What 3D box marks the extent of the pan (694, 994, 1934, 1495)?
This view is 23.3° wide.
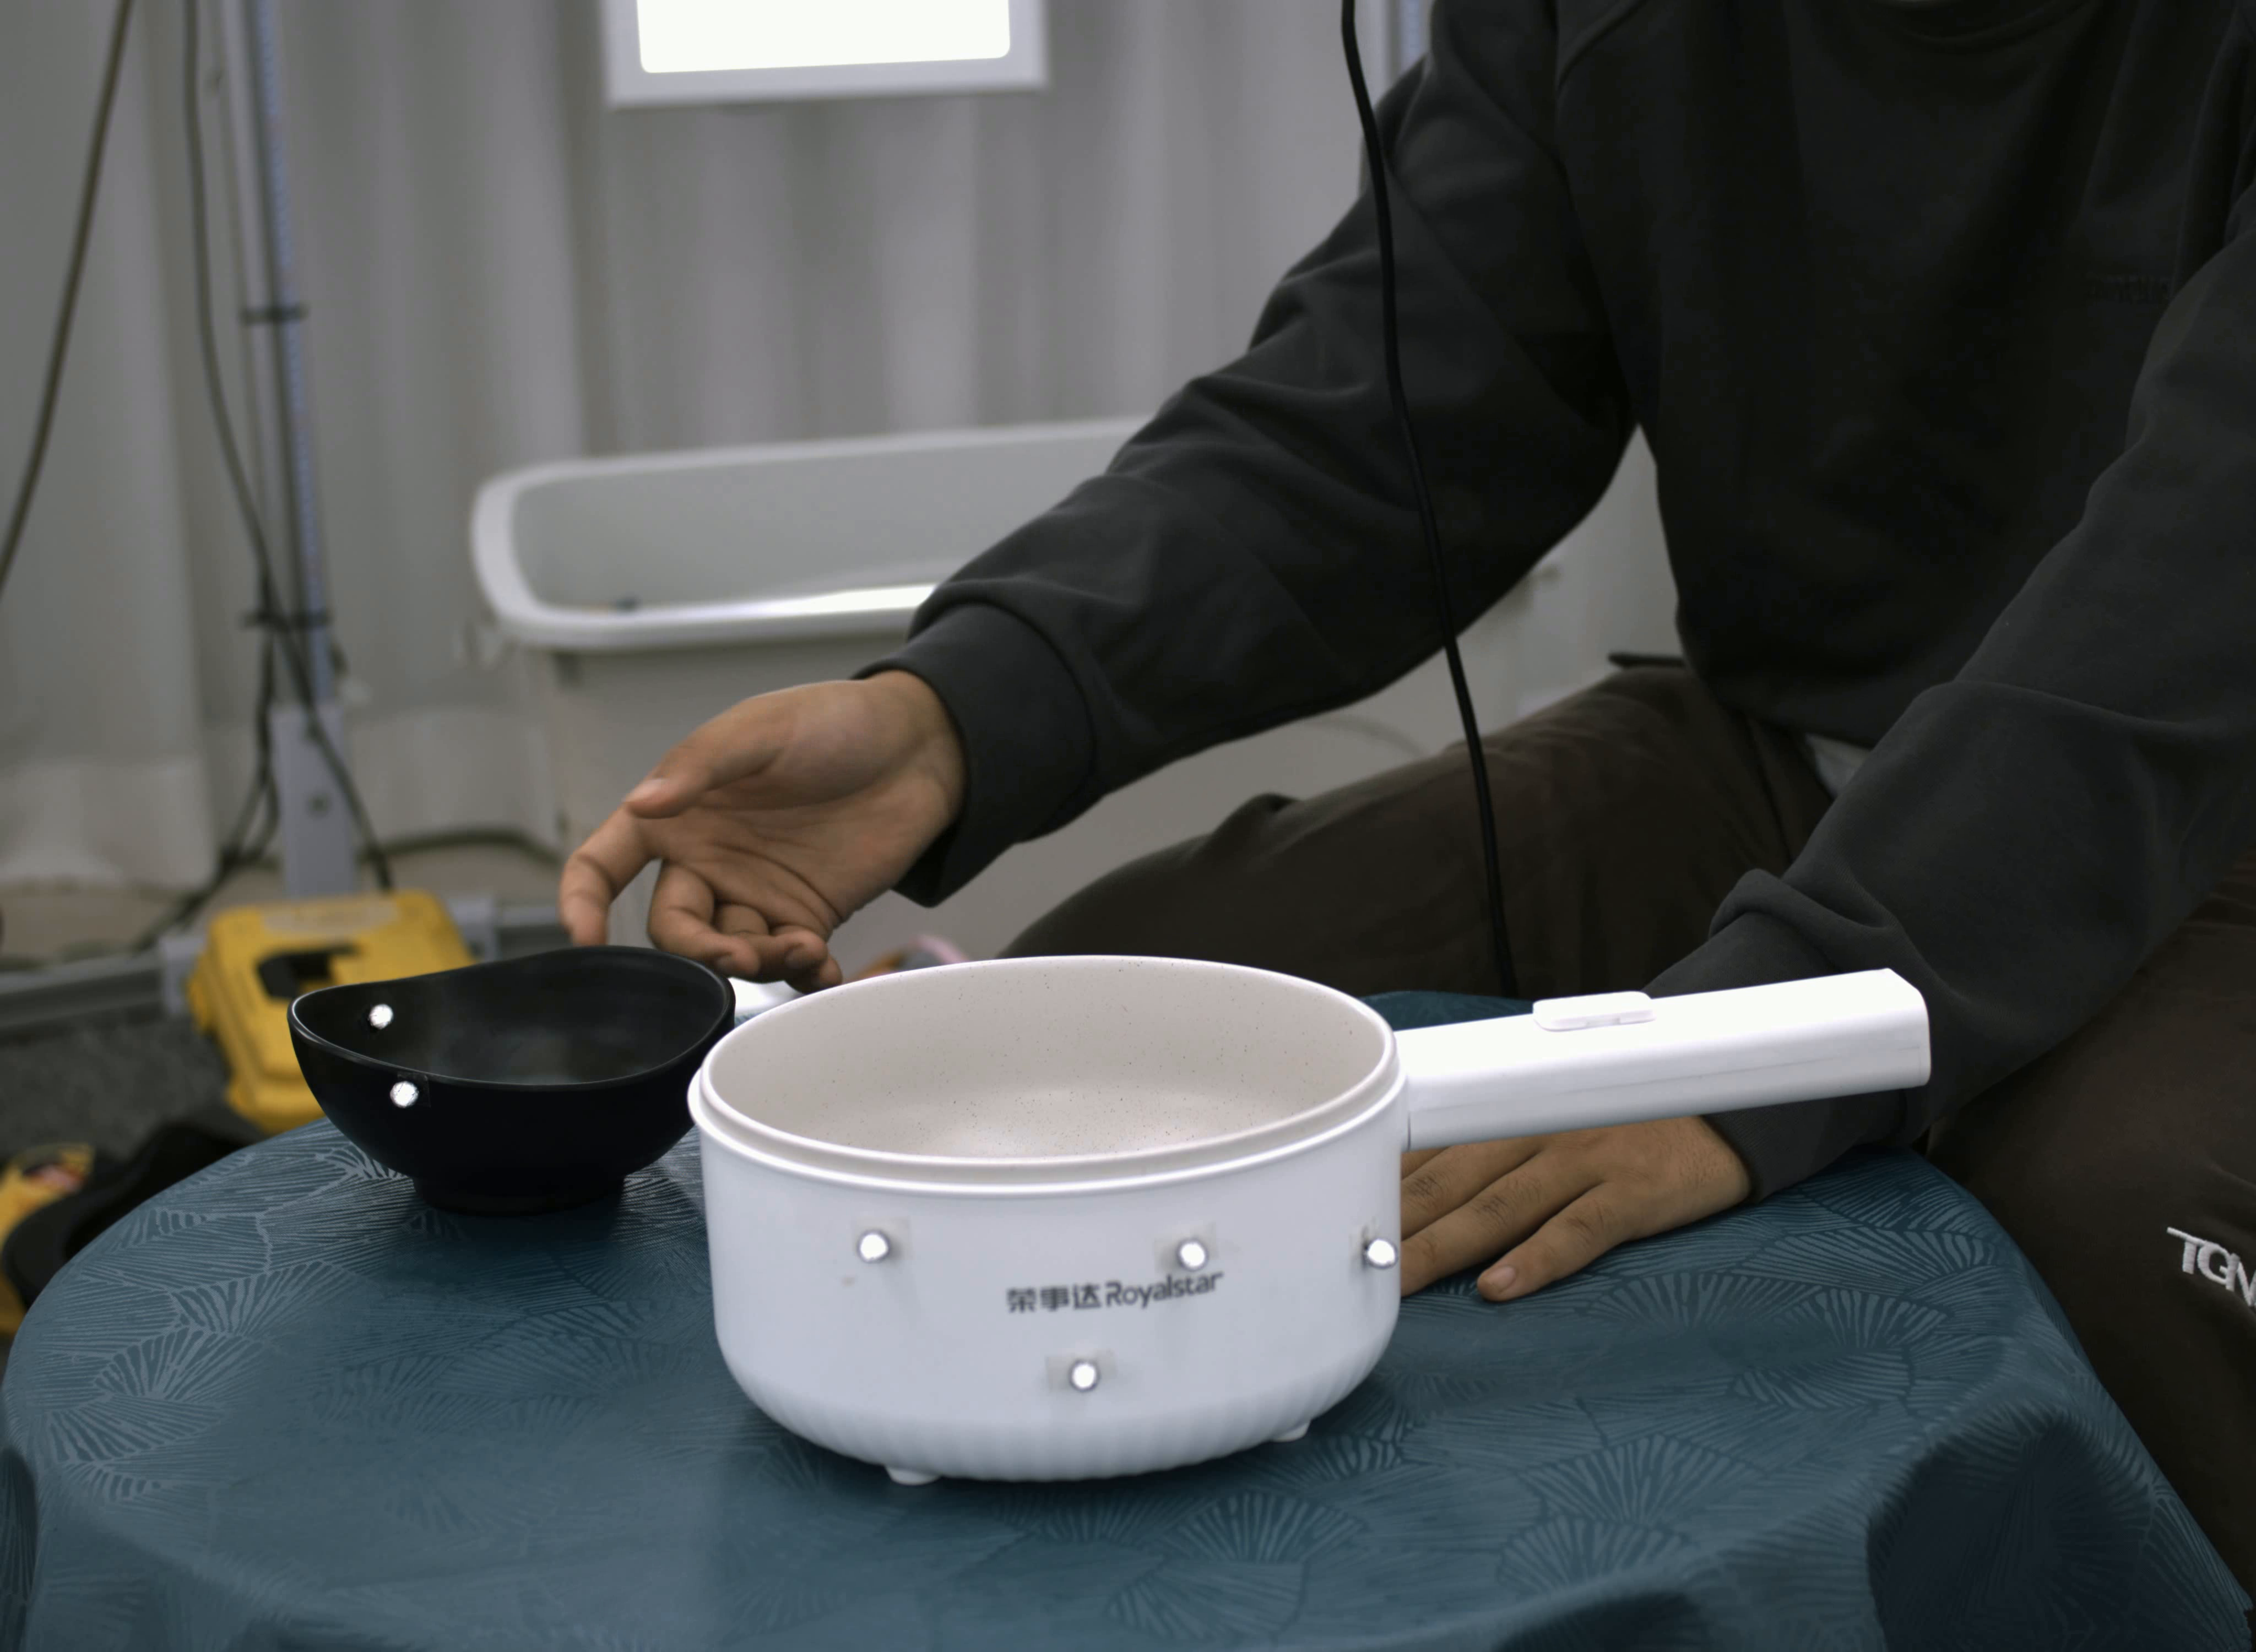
[{"bbox_3d":[0.055,0.113,1.552,0.353,0.102,0.202,-4,11,-12],"label":"pan"}]

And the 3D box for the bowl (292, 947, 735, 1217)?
[{"bbox_3d":[-0.195,0.084,1.739,0.137,0.066,0.171,-10,15,-25],"label":"bowl"}]
